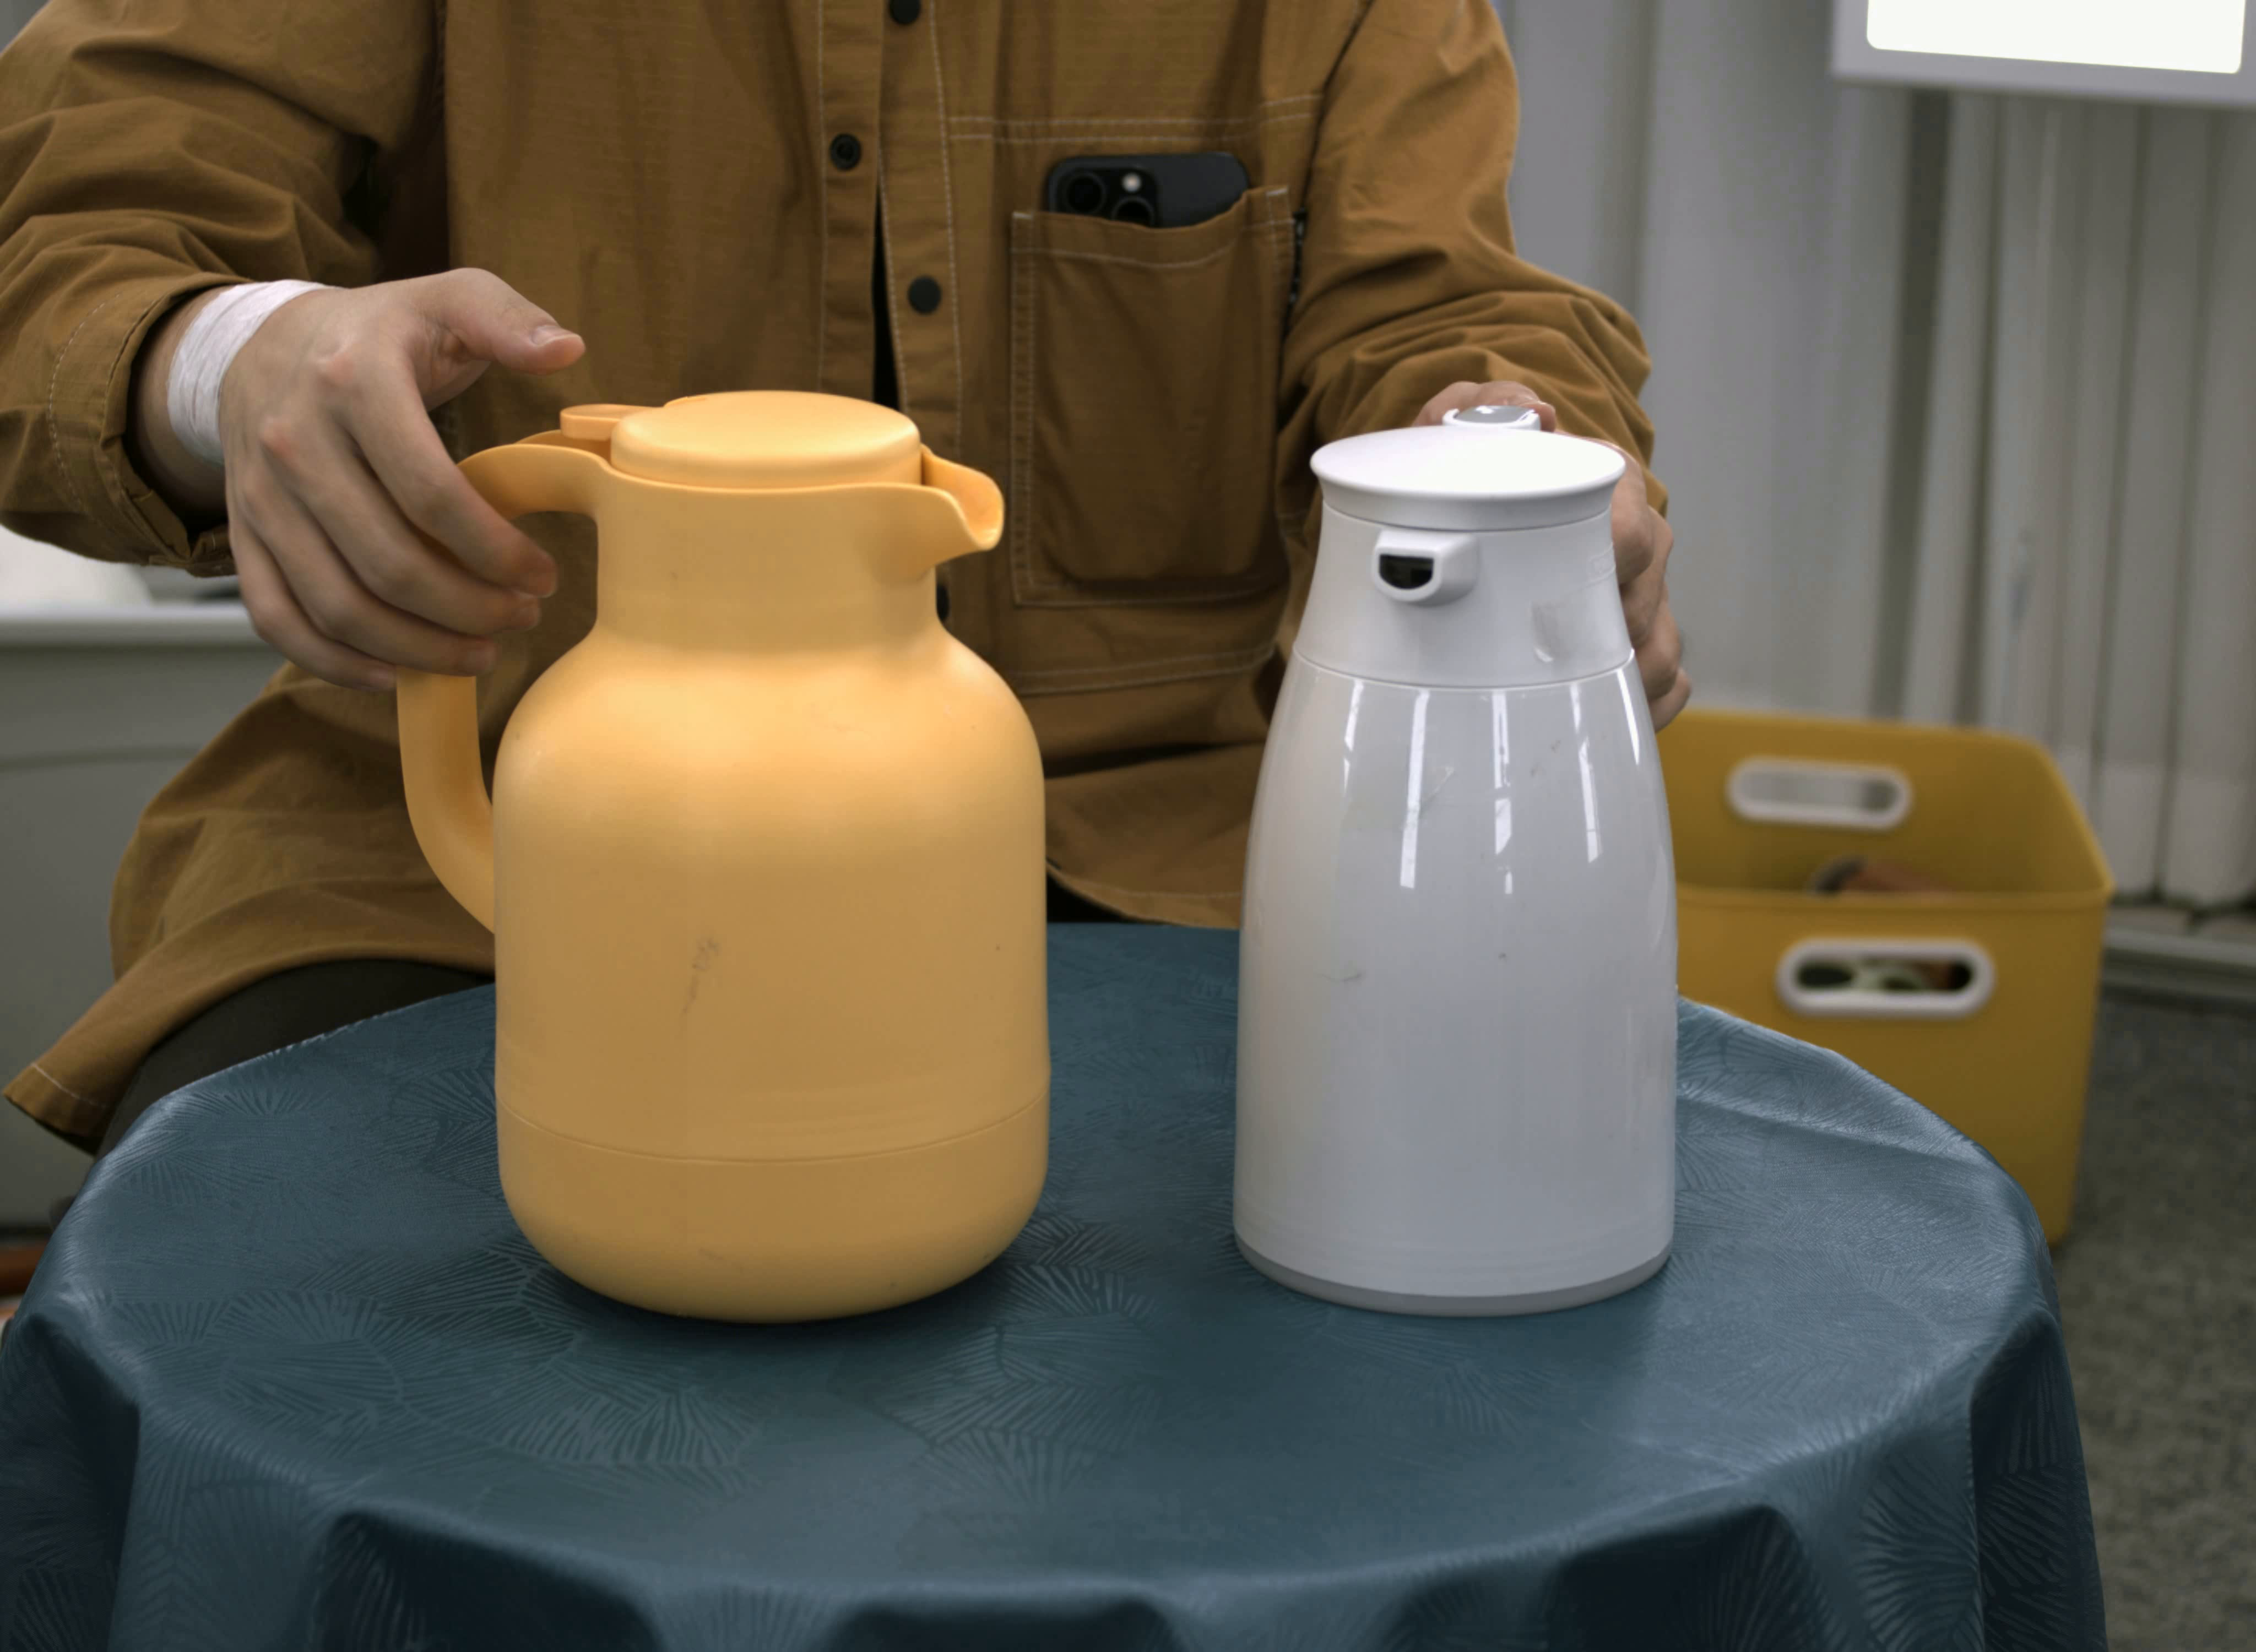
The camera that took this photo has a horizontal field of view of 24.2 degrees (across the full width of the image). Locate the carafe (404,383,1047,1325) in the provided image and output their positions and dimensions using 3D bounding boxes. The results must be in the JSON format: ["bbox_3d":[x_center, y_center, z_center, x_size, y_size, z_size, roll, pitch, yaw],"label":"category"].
[{"bbox_3d":[-0.120,0.001,1.534,0.200,0.262,0.164,10,17,27],"label":"carafe"}]

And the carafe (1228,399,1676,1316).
[{"bbox_3d":[0.102,0.000,1.564,0.131,0.250,0.168,5,16,17],"label":"carafe"}]
